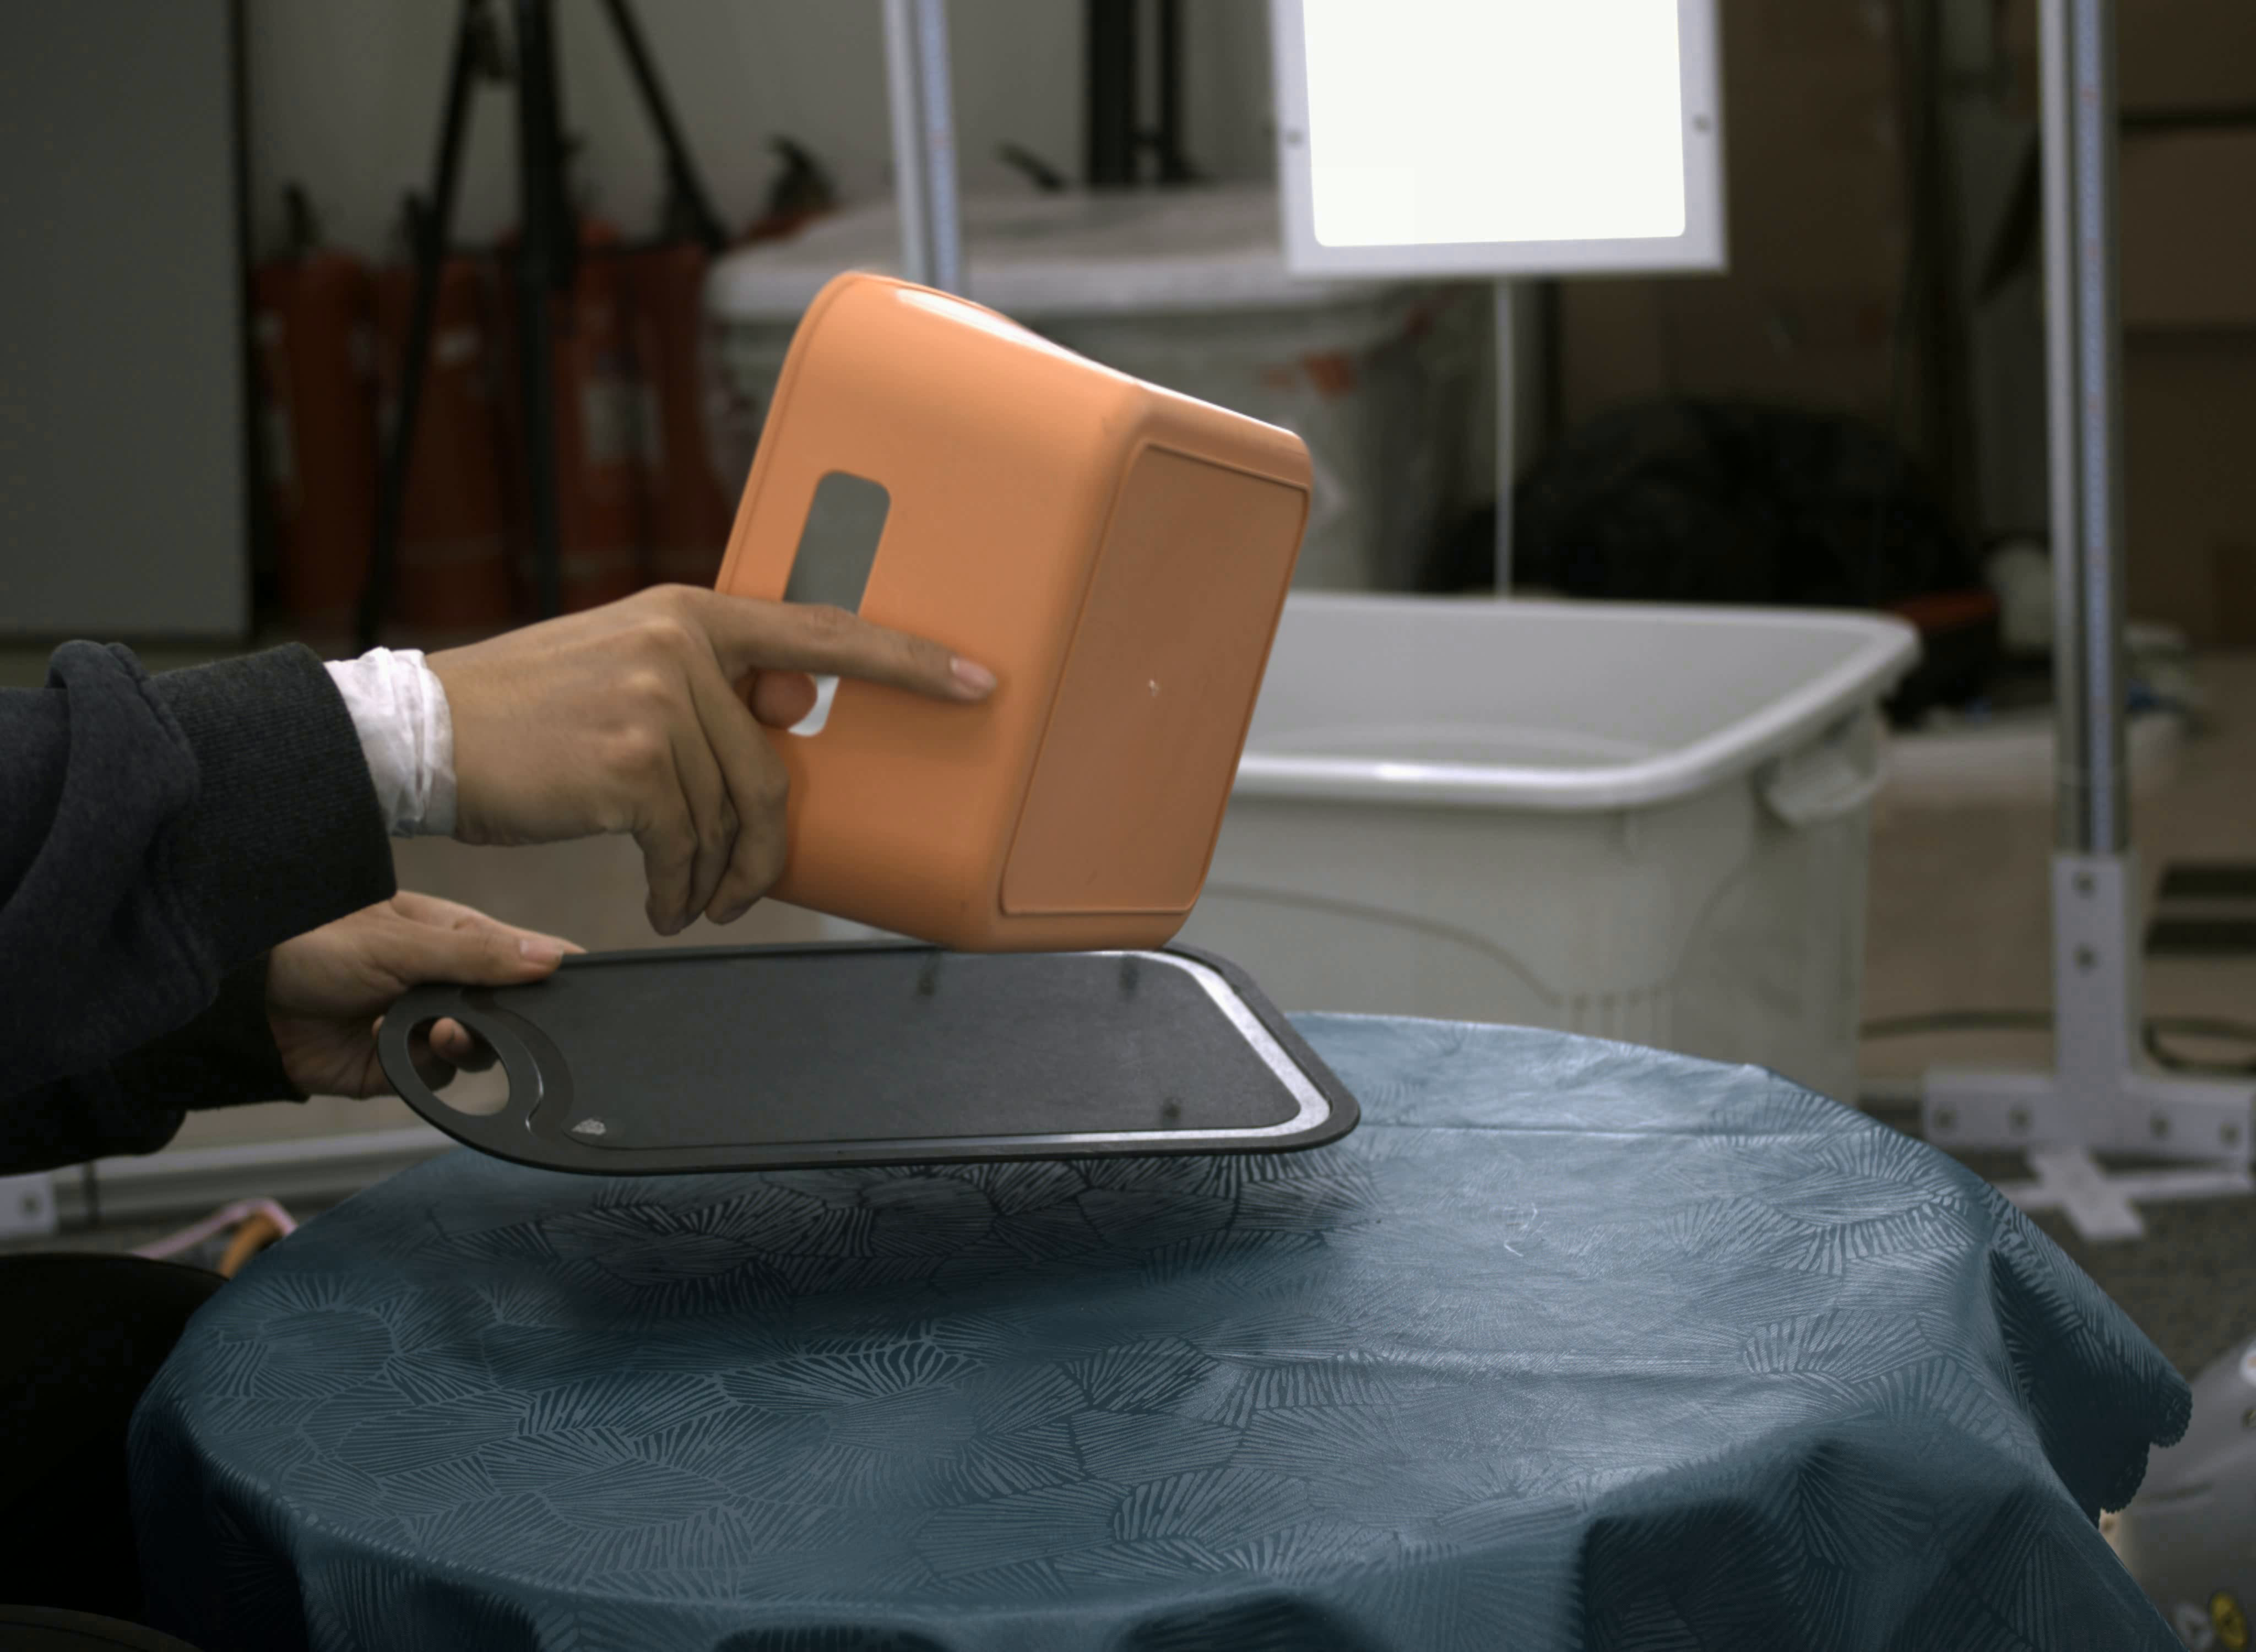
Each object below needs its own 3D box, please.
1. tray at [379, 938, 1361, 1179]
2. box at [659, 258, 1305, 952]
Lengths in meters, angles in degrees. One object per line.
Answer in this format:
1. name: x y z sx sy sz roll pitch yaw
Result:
1. tray: -0.093 0.076 1.887 0.321 0.010 0.213 -1 19 -15
2. box: -0.036 -0.057 1.693 0.103 0.200 0.269 16 3 16
